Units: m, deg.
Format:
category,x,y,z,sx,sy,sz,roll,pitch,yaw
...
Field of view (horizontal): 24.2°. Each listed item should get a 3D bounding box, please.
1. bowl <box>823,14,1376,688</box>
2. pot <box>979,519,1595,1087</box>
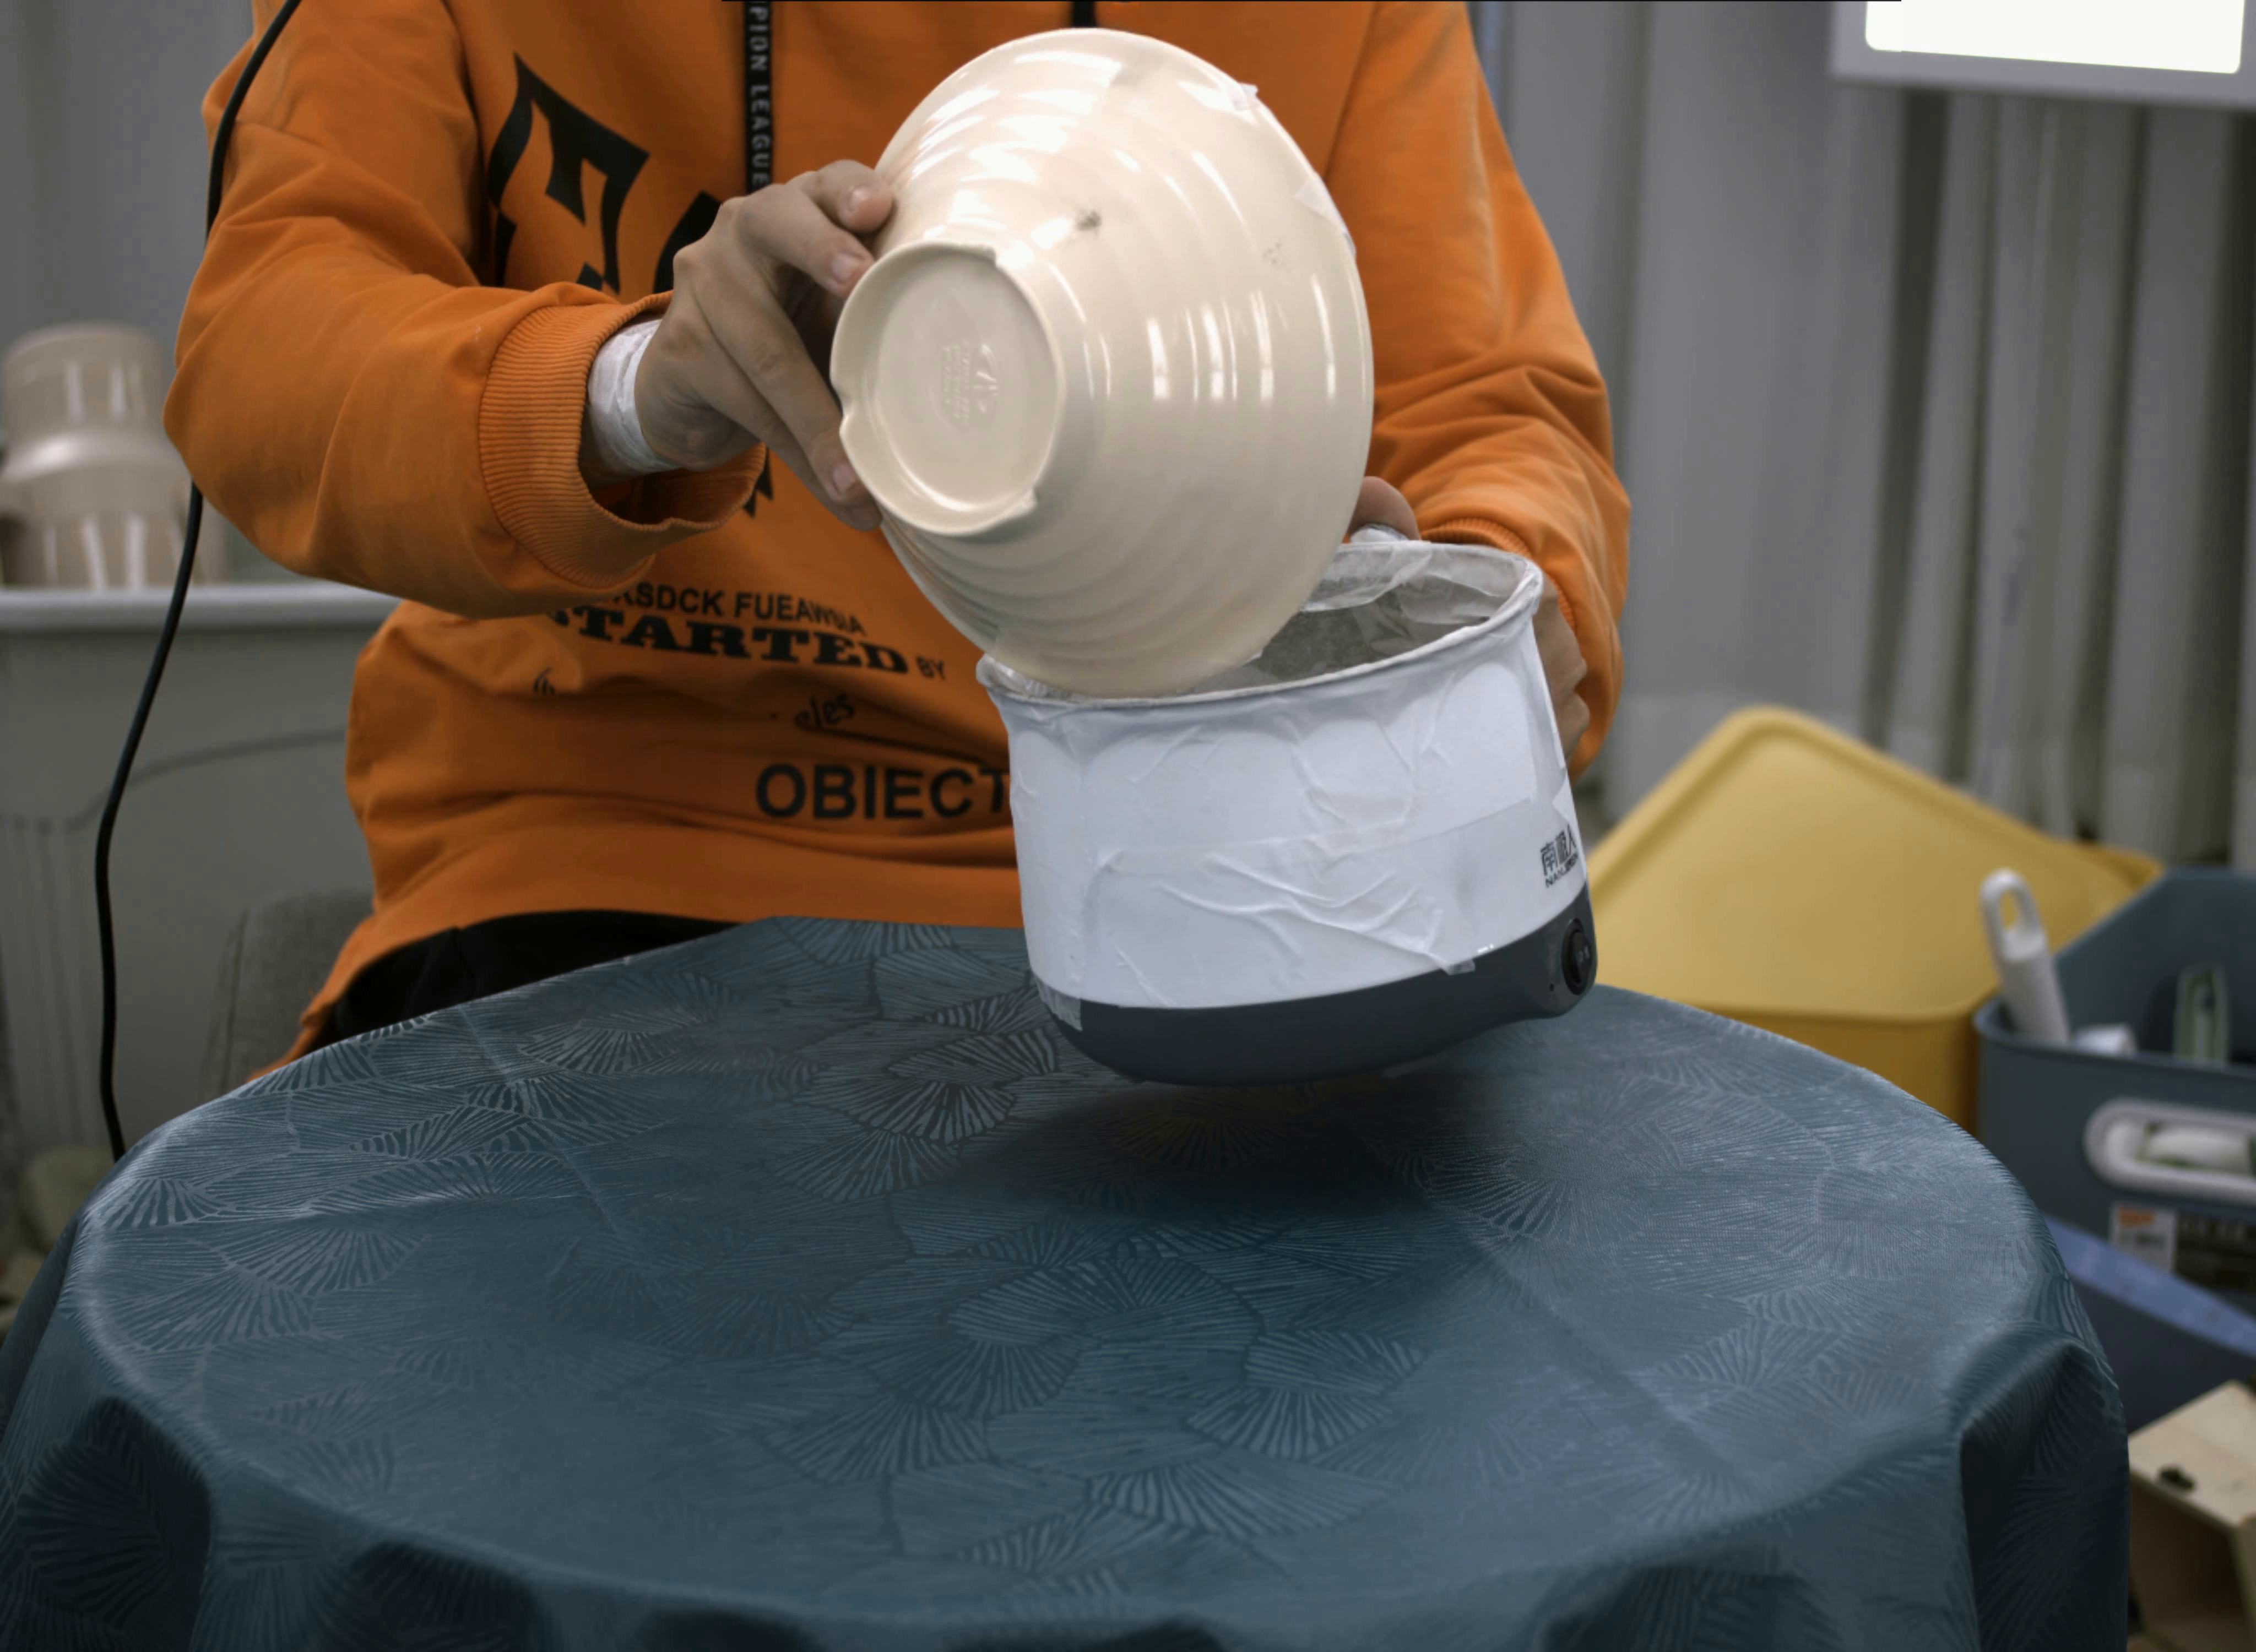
category,x,y,z,sx,sy,sz,roll,pitch,yaw
bowl,-0.031,-0.136,1.551,0.201,0.205,0.078,11,14,33
pot,0.061,-0.012,1.662,0.177,0.138,0.234,-2,17,23
